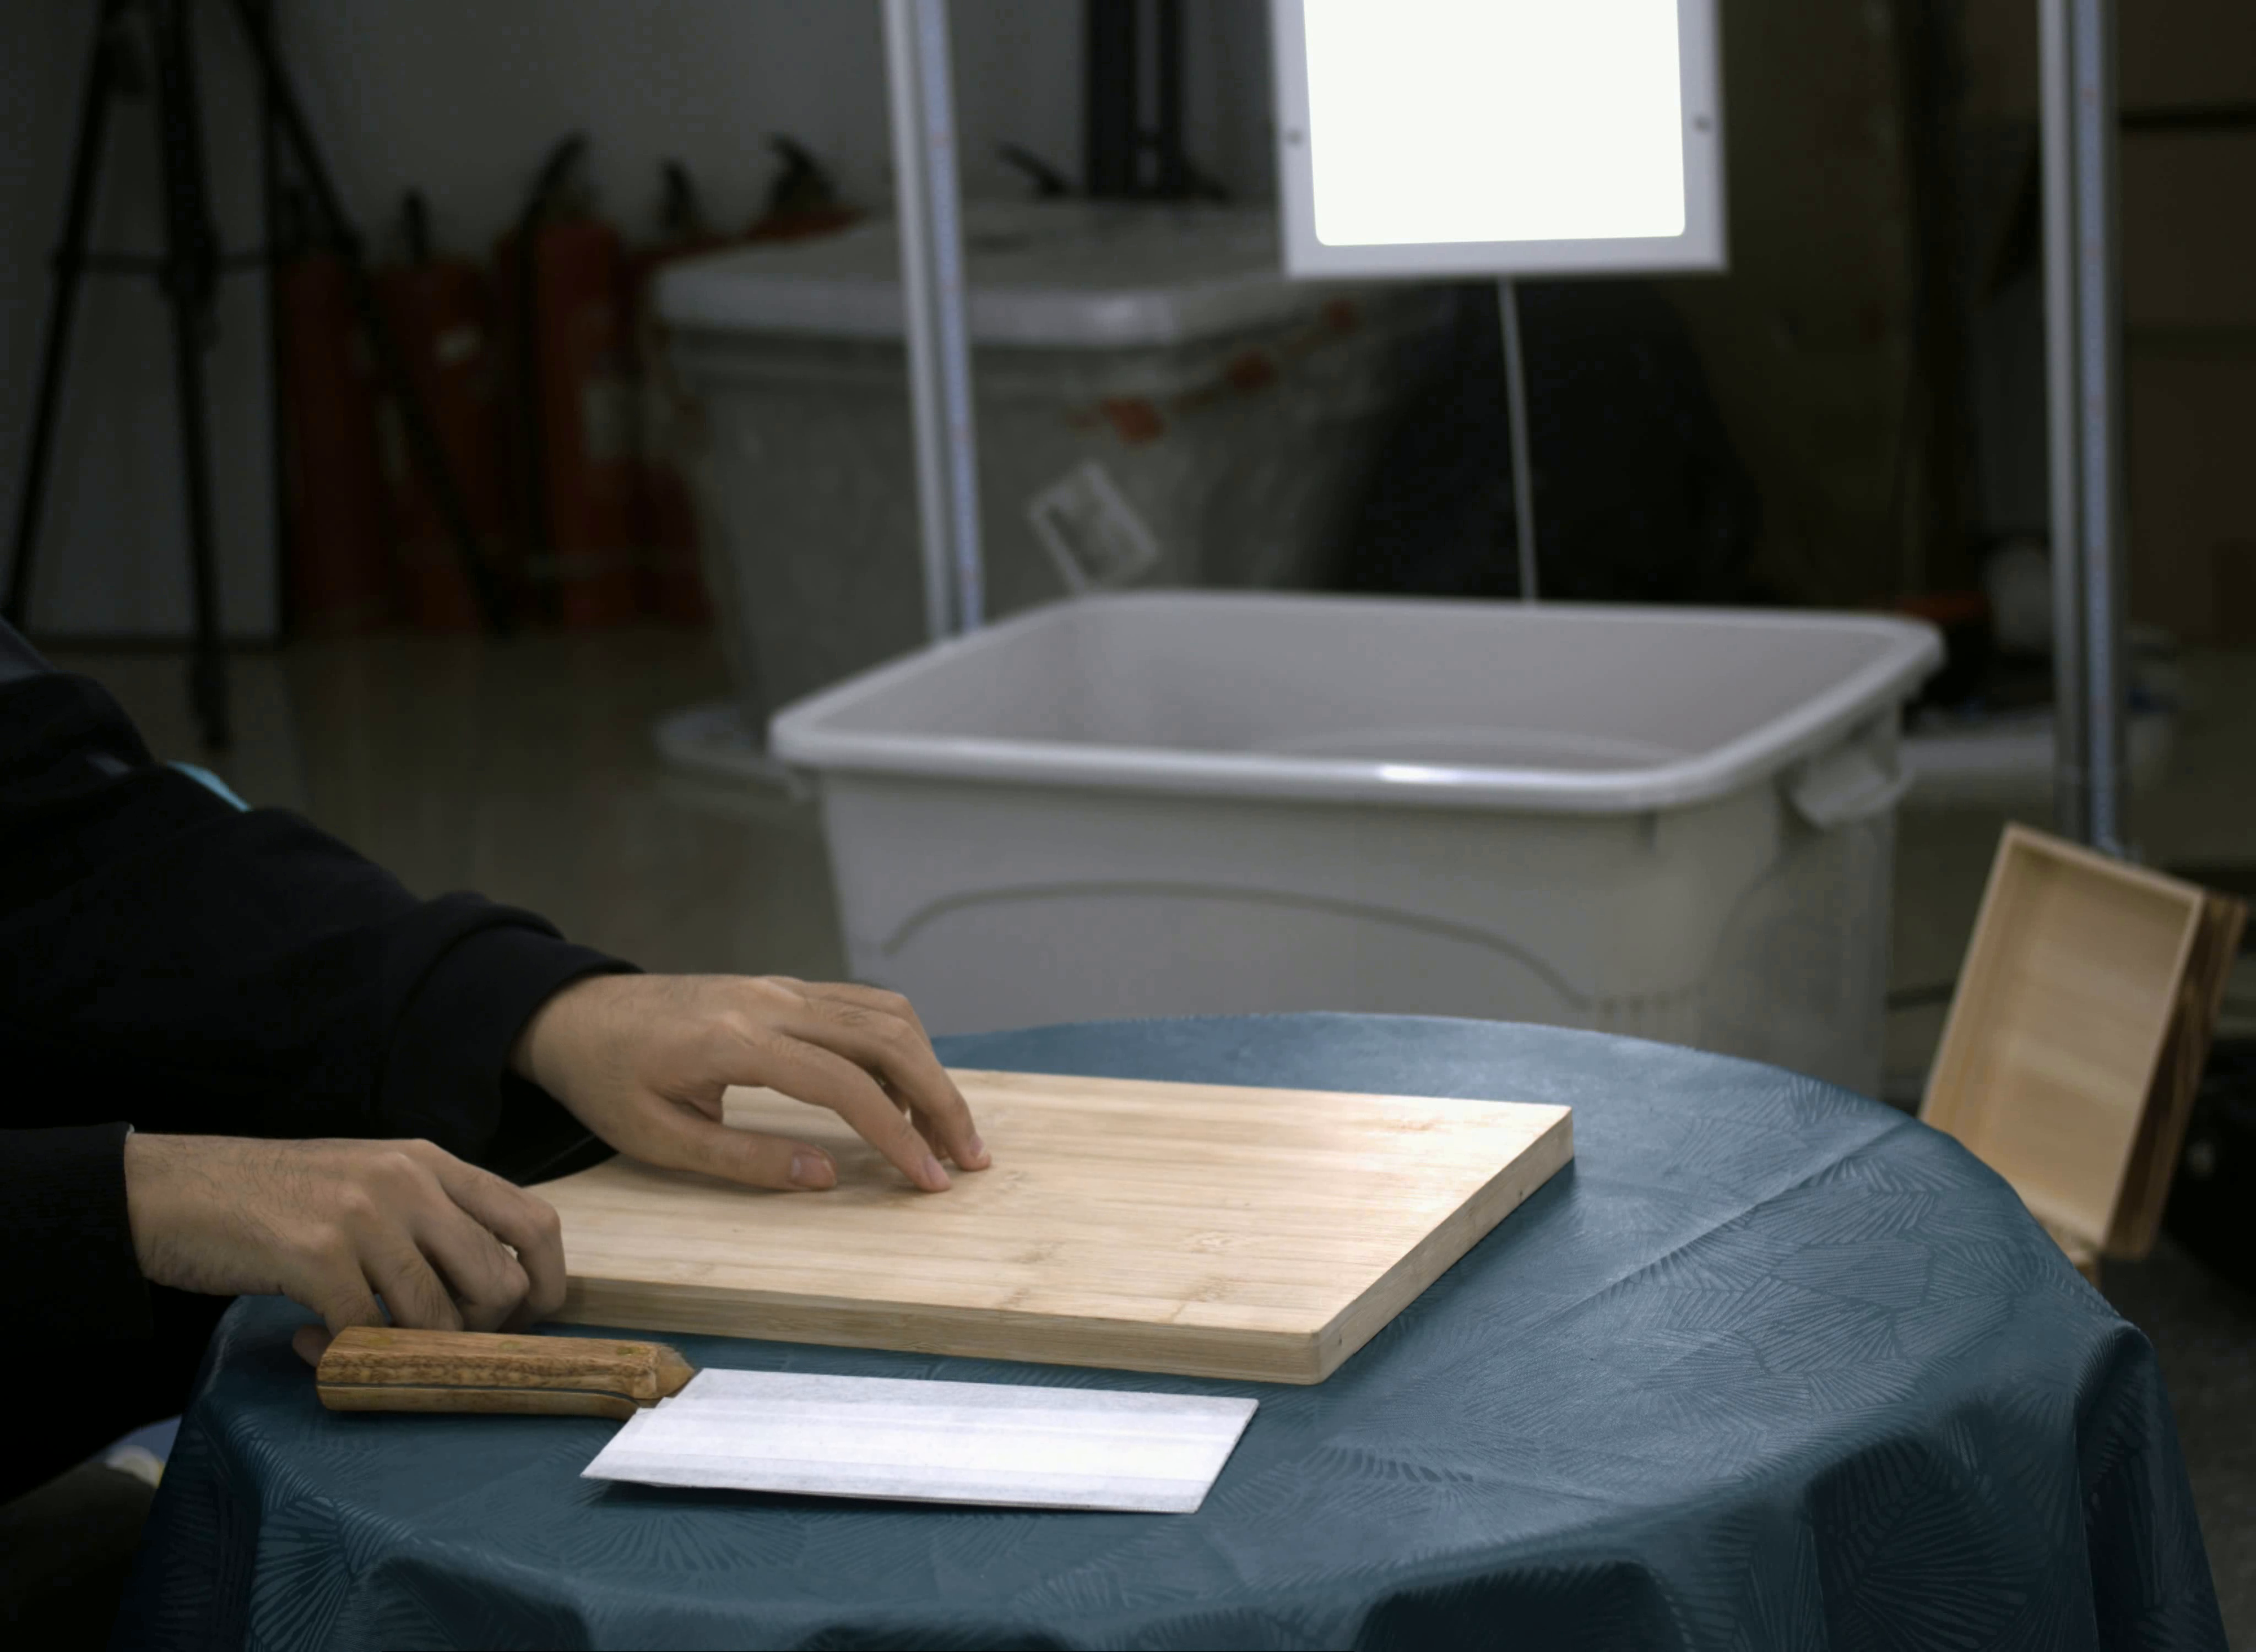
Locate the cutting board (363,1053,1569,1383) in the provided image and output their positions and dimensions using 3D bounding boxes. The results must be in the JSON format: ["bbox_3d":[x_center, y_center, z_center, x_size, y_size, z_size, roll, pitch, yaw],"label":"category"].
[{"bbox_3d":[-0.052,0.129,1.871,0.354,0.023,0.245,2,15,25],"label":"cutting board"}]

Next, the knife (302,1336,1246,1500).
[{"bbox_3d":[-0.117,0.183,1.680,0.309,0.021,0.091,1,17,16],"label":"knife"}]
